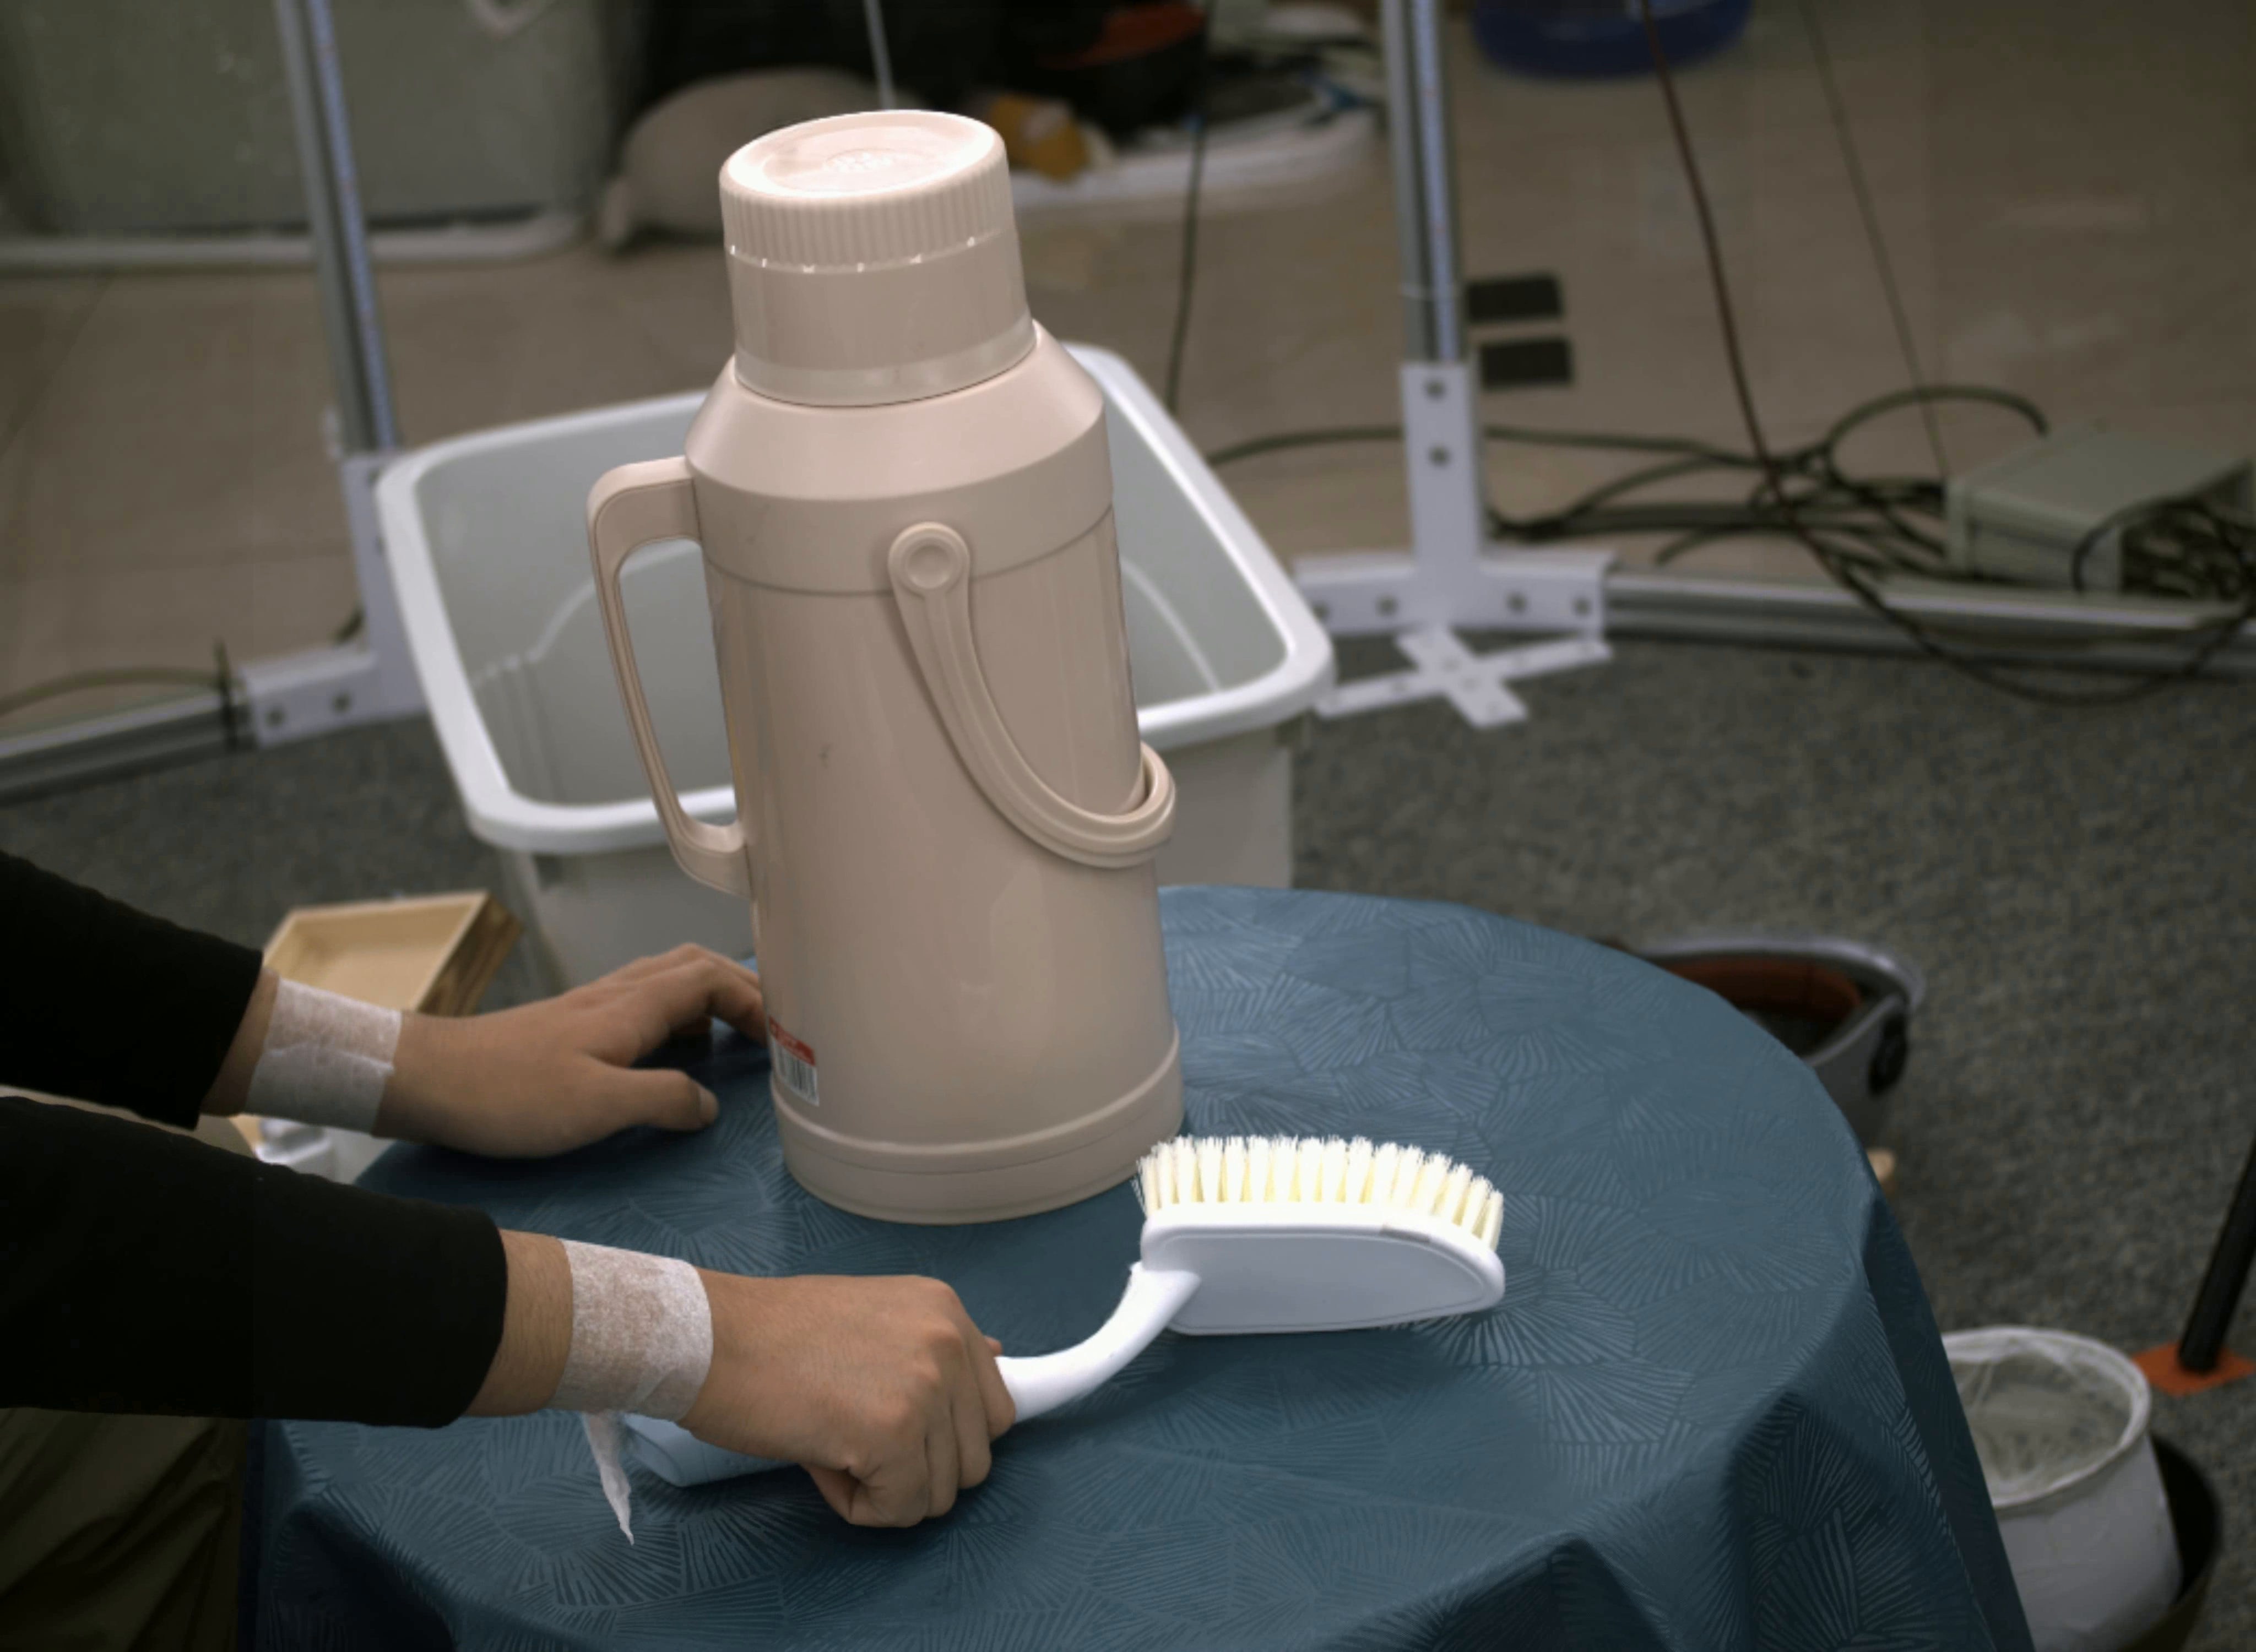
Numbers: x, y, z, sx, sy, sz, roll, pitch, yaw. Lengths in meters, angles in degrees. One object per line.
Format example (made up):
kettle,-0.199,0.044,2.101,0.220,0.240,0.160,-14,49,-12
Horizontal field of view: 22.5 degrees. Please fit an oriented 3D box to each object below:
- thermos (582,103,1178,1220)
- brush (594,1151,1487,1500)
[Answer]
thermos,-0.092,-0.061,2.122,0.206,0.413,0.172,-9,28,-6
brush,-0.033,0.165,2.014,0.325,0.084,0.084,-10,12,-4
